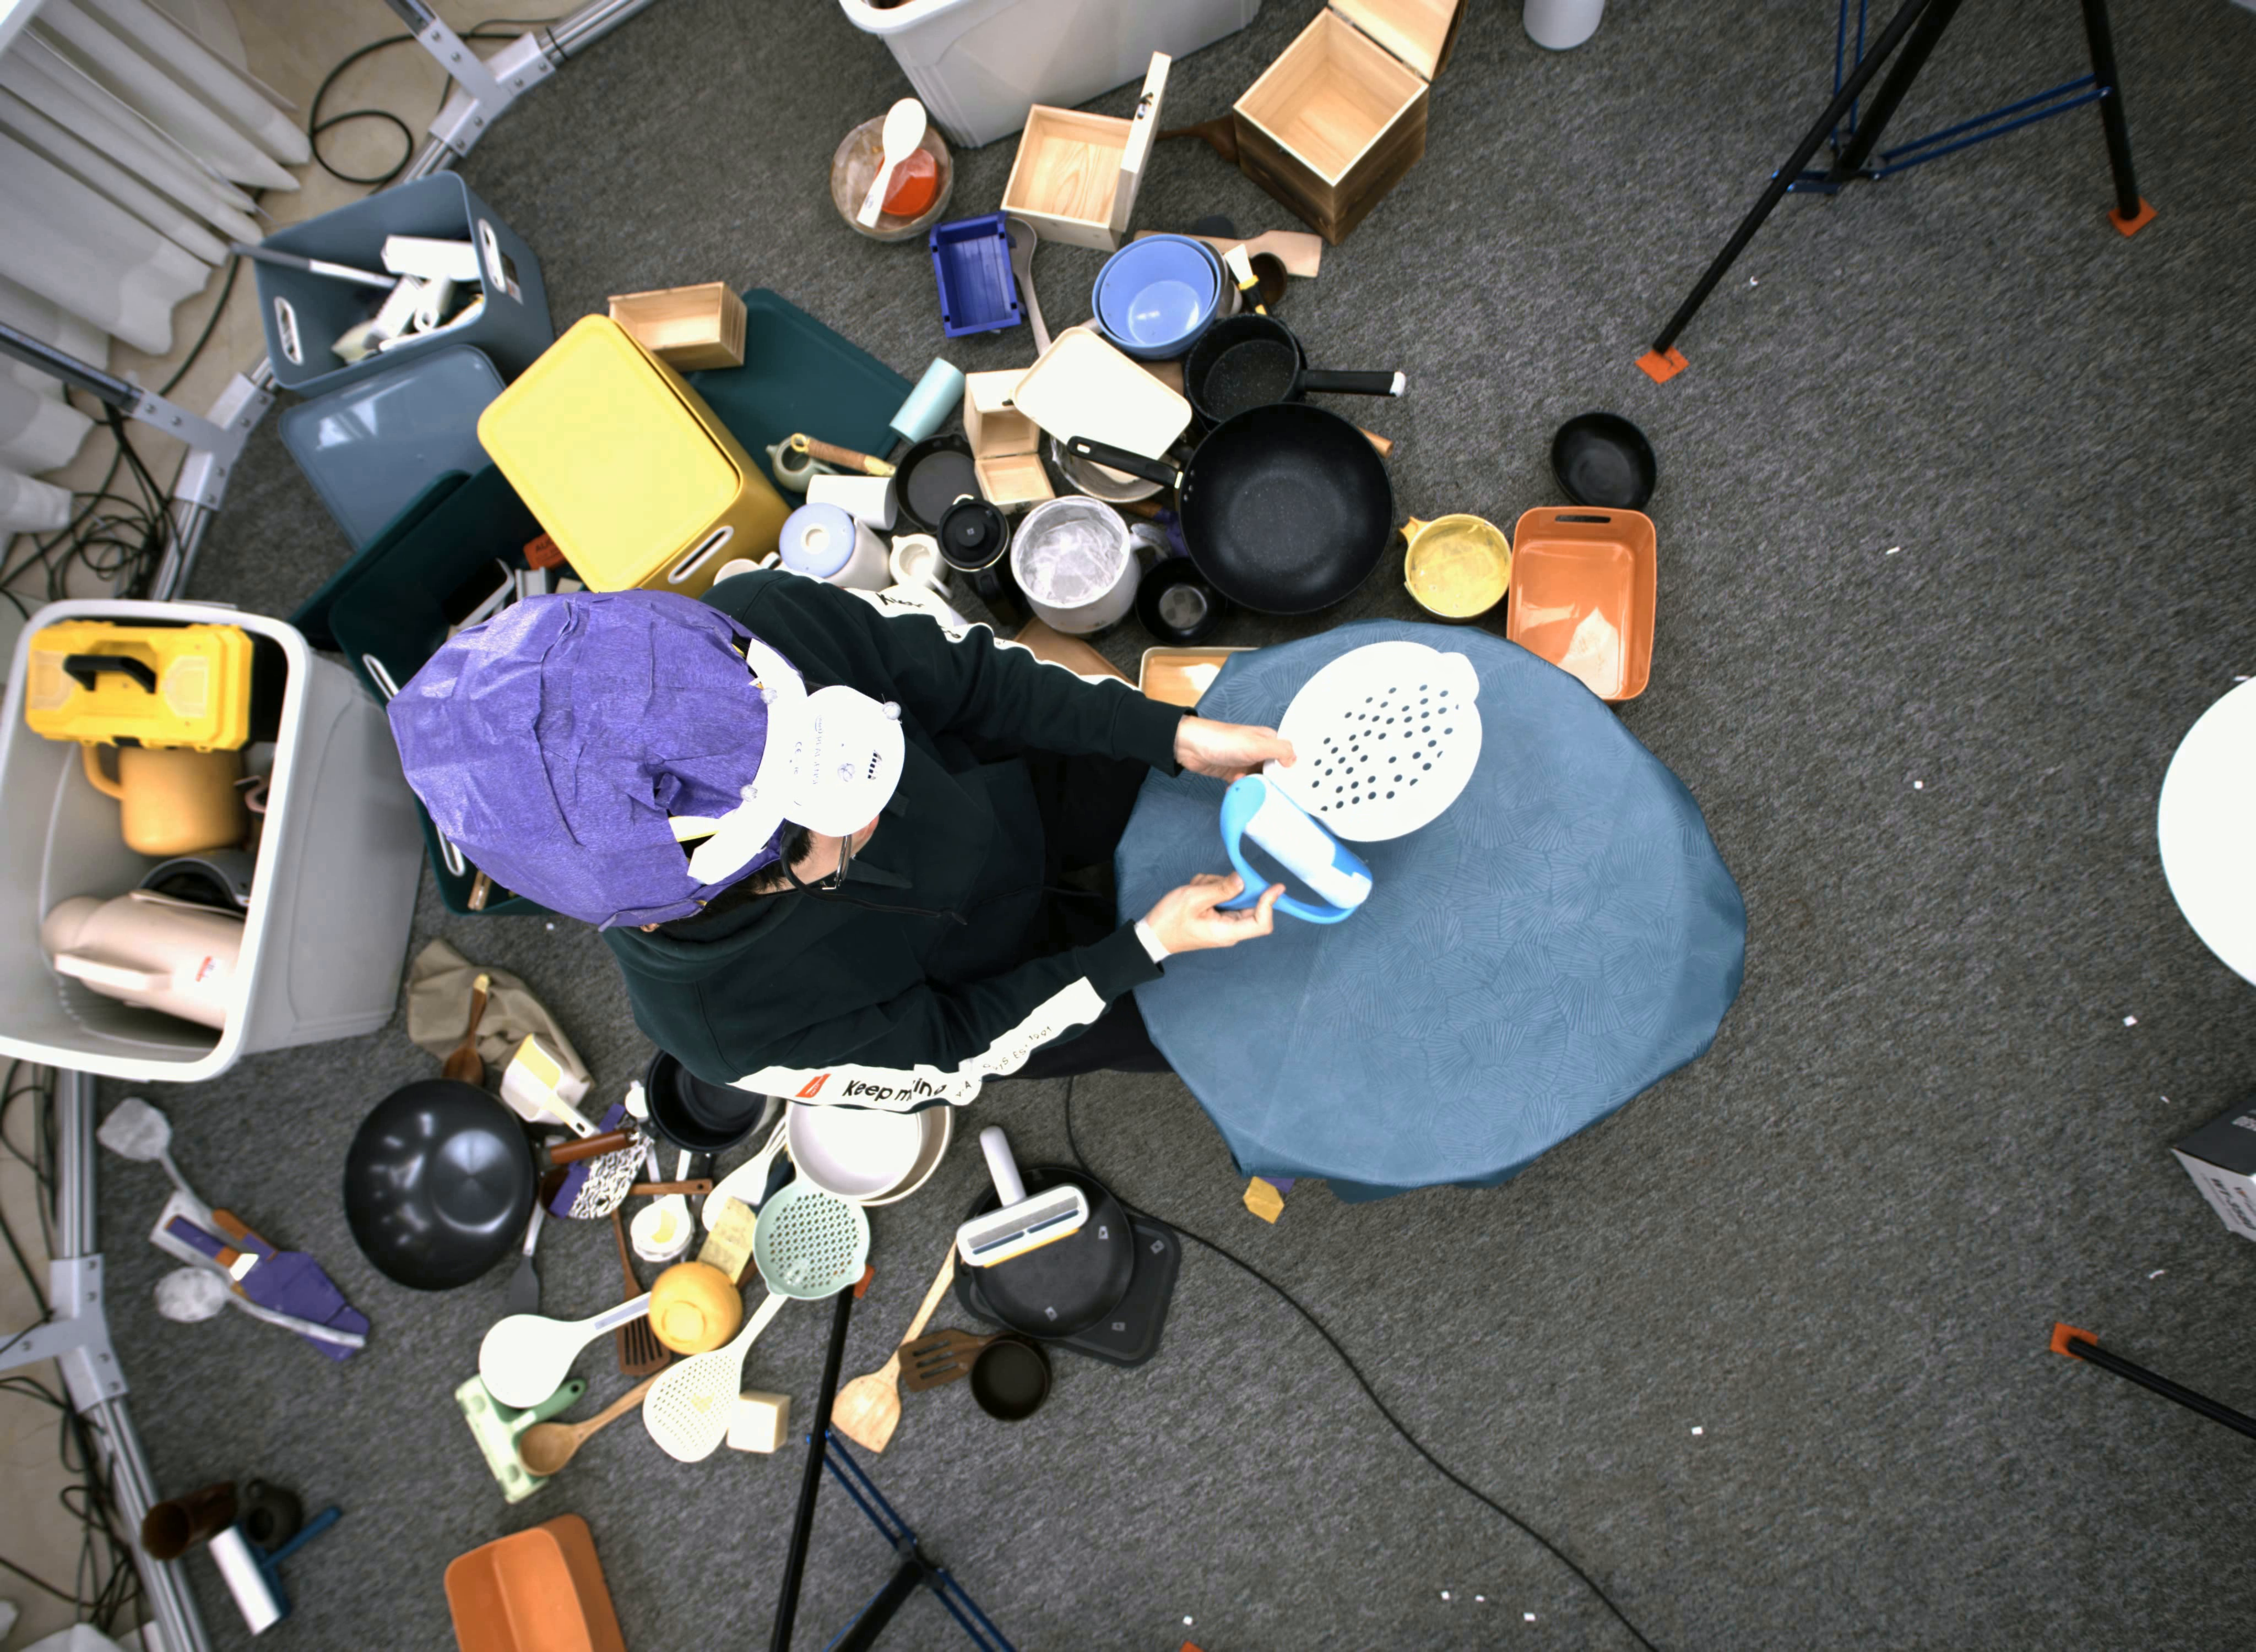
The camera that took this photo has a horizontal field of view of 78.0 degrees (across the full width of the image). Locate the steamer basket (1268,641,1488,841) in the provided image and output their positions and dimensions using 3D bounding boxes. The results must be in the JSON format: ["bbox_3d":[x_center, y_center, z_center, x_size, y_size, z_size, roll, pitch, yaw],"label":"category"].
[{"bbox_3d":[0.249,-0.083,1.337,0.234,0.070,0.197,-30,46,22],"label":"steamer basket"}]

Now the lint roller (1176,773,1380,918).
[{"bbox_3d":[0.127,0.046,1.355,0.183,0.230,0.066,-35,48,26],"label":"lint roller"}]
